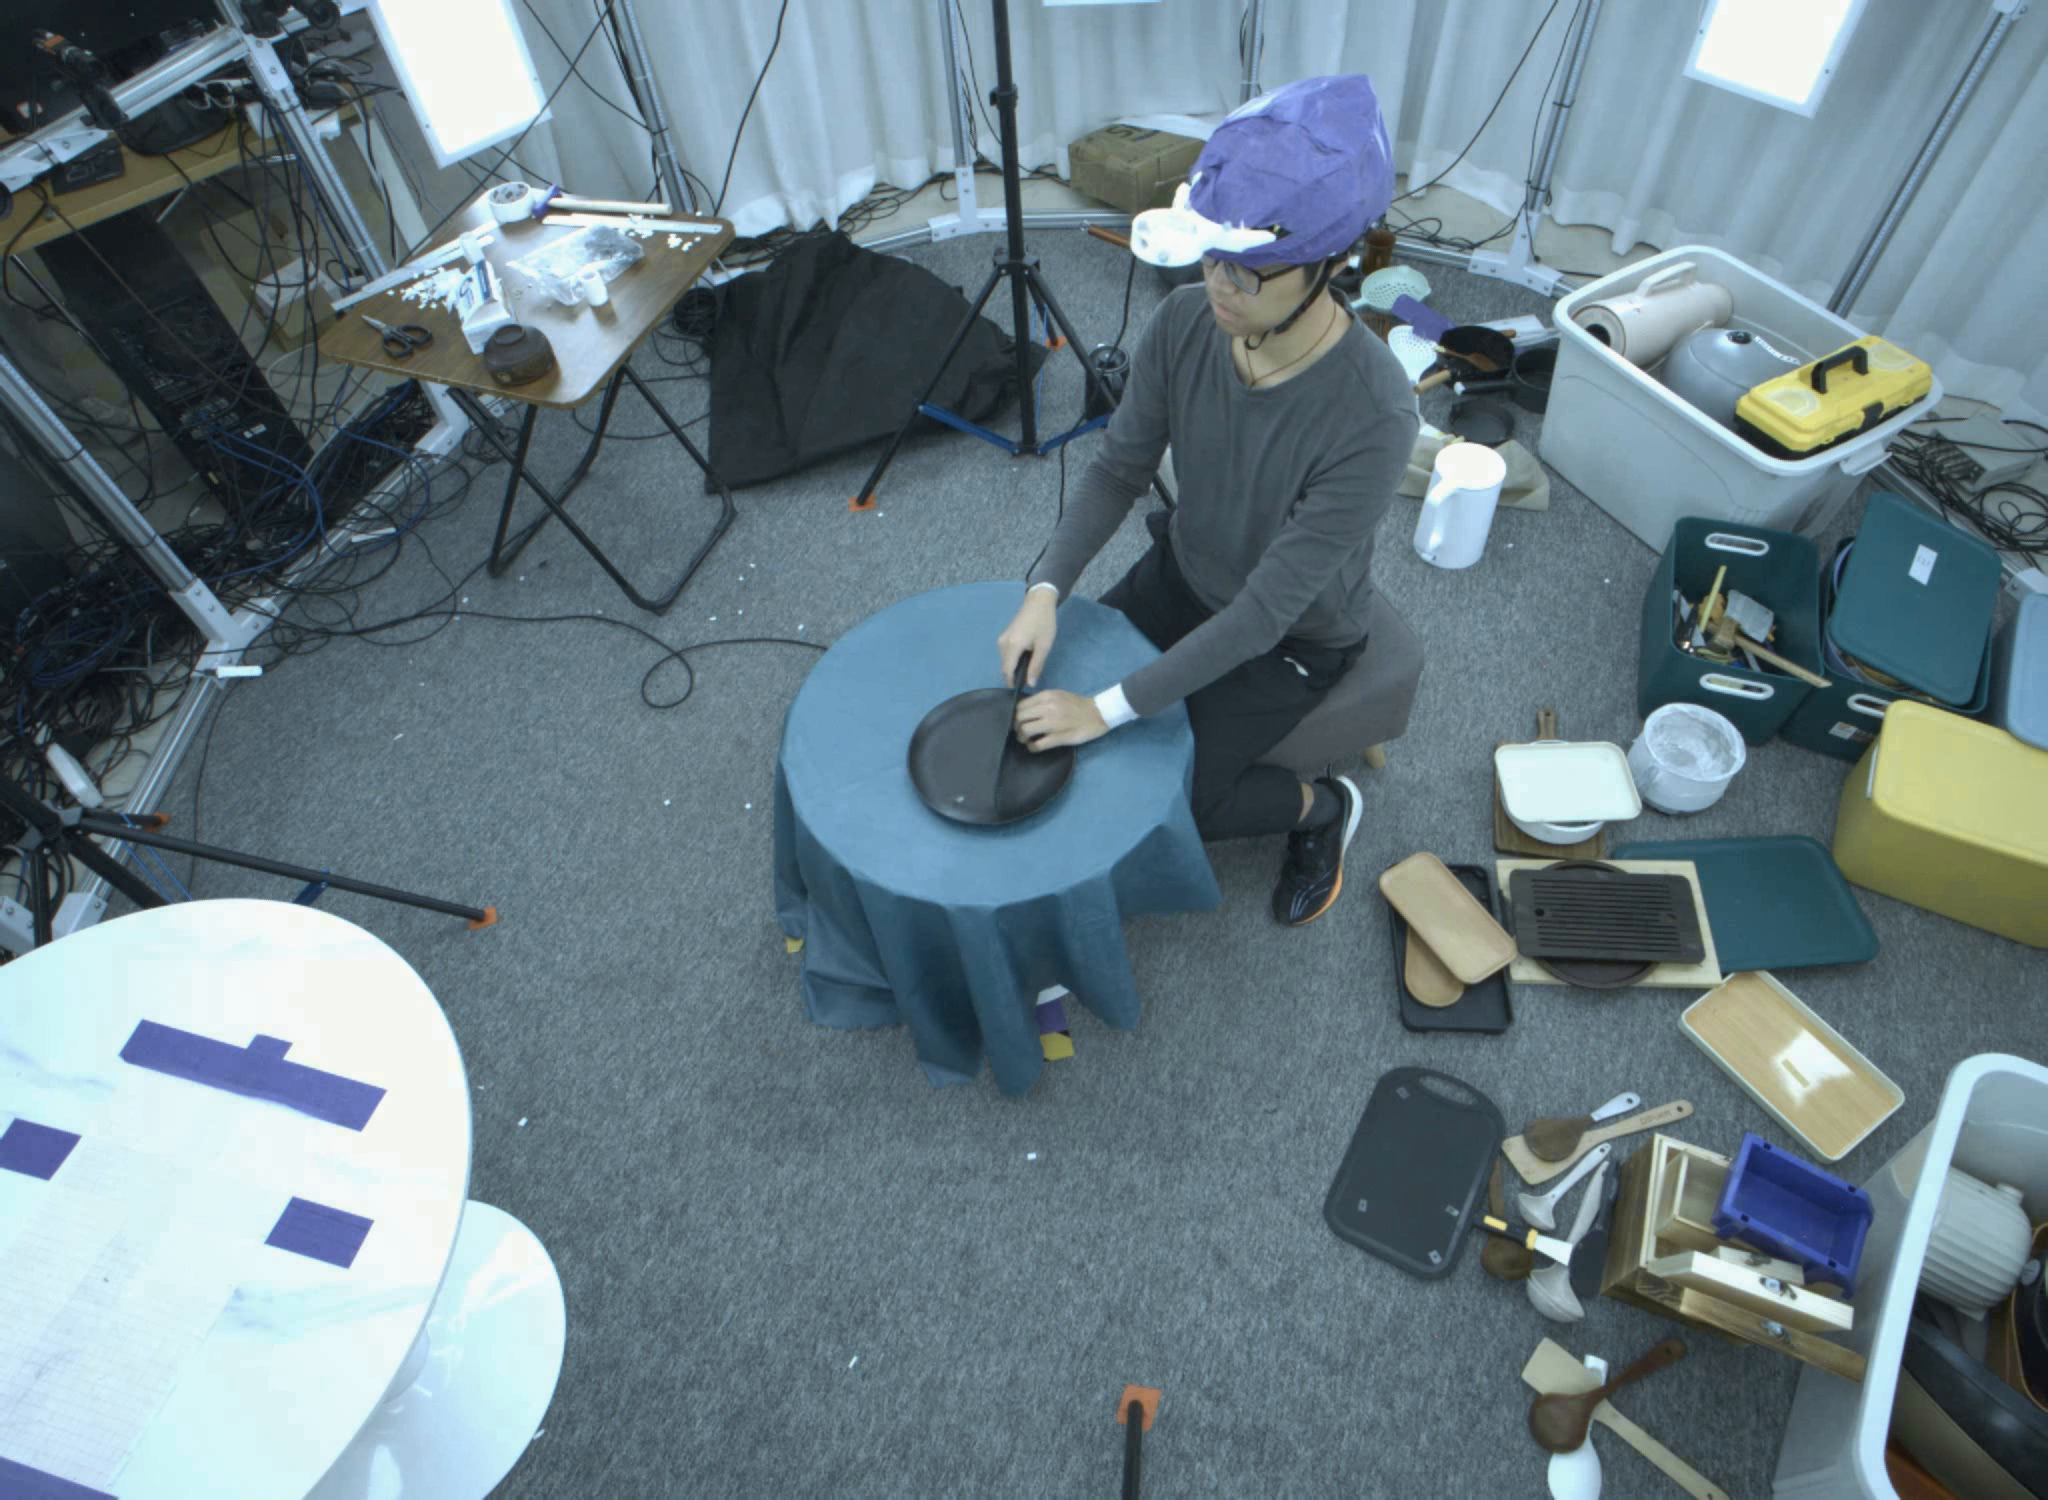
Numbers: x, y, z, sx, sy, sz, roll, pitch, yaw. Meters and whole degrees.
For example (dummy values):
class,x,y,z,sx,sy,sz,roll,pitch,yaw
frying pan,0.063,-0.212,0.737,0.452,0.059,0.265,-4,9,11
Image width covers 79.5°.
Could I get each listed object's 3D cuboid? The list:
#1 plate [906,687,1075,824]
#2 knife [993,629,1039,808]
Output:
class,x,y,z,sx,sy,sz,roll,pitch,yaw
plate,-0.048,0.009,1.776,0.244,0.023,0.242,0,54,1
knife,-0.014,-0.054,1.775,0.021,0.081,0.300,8,59,6
